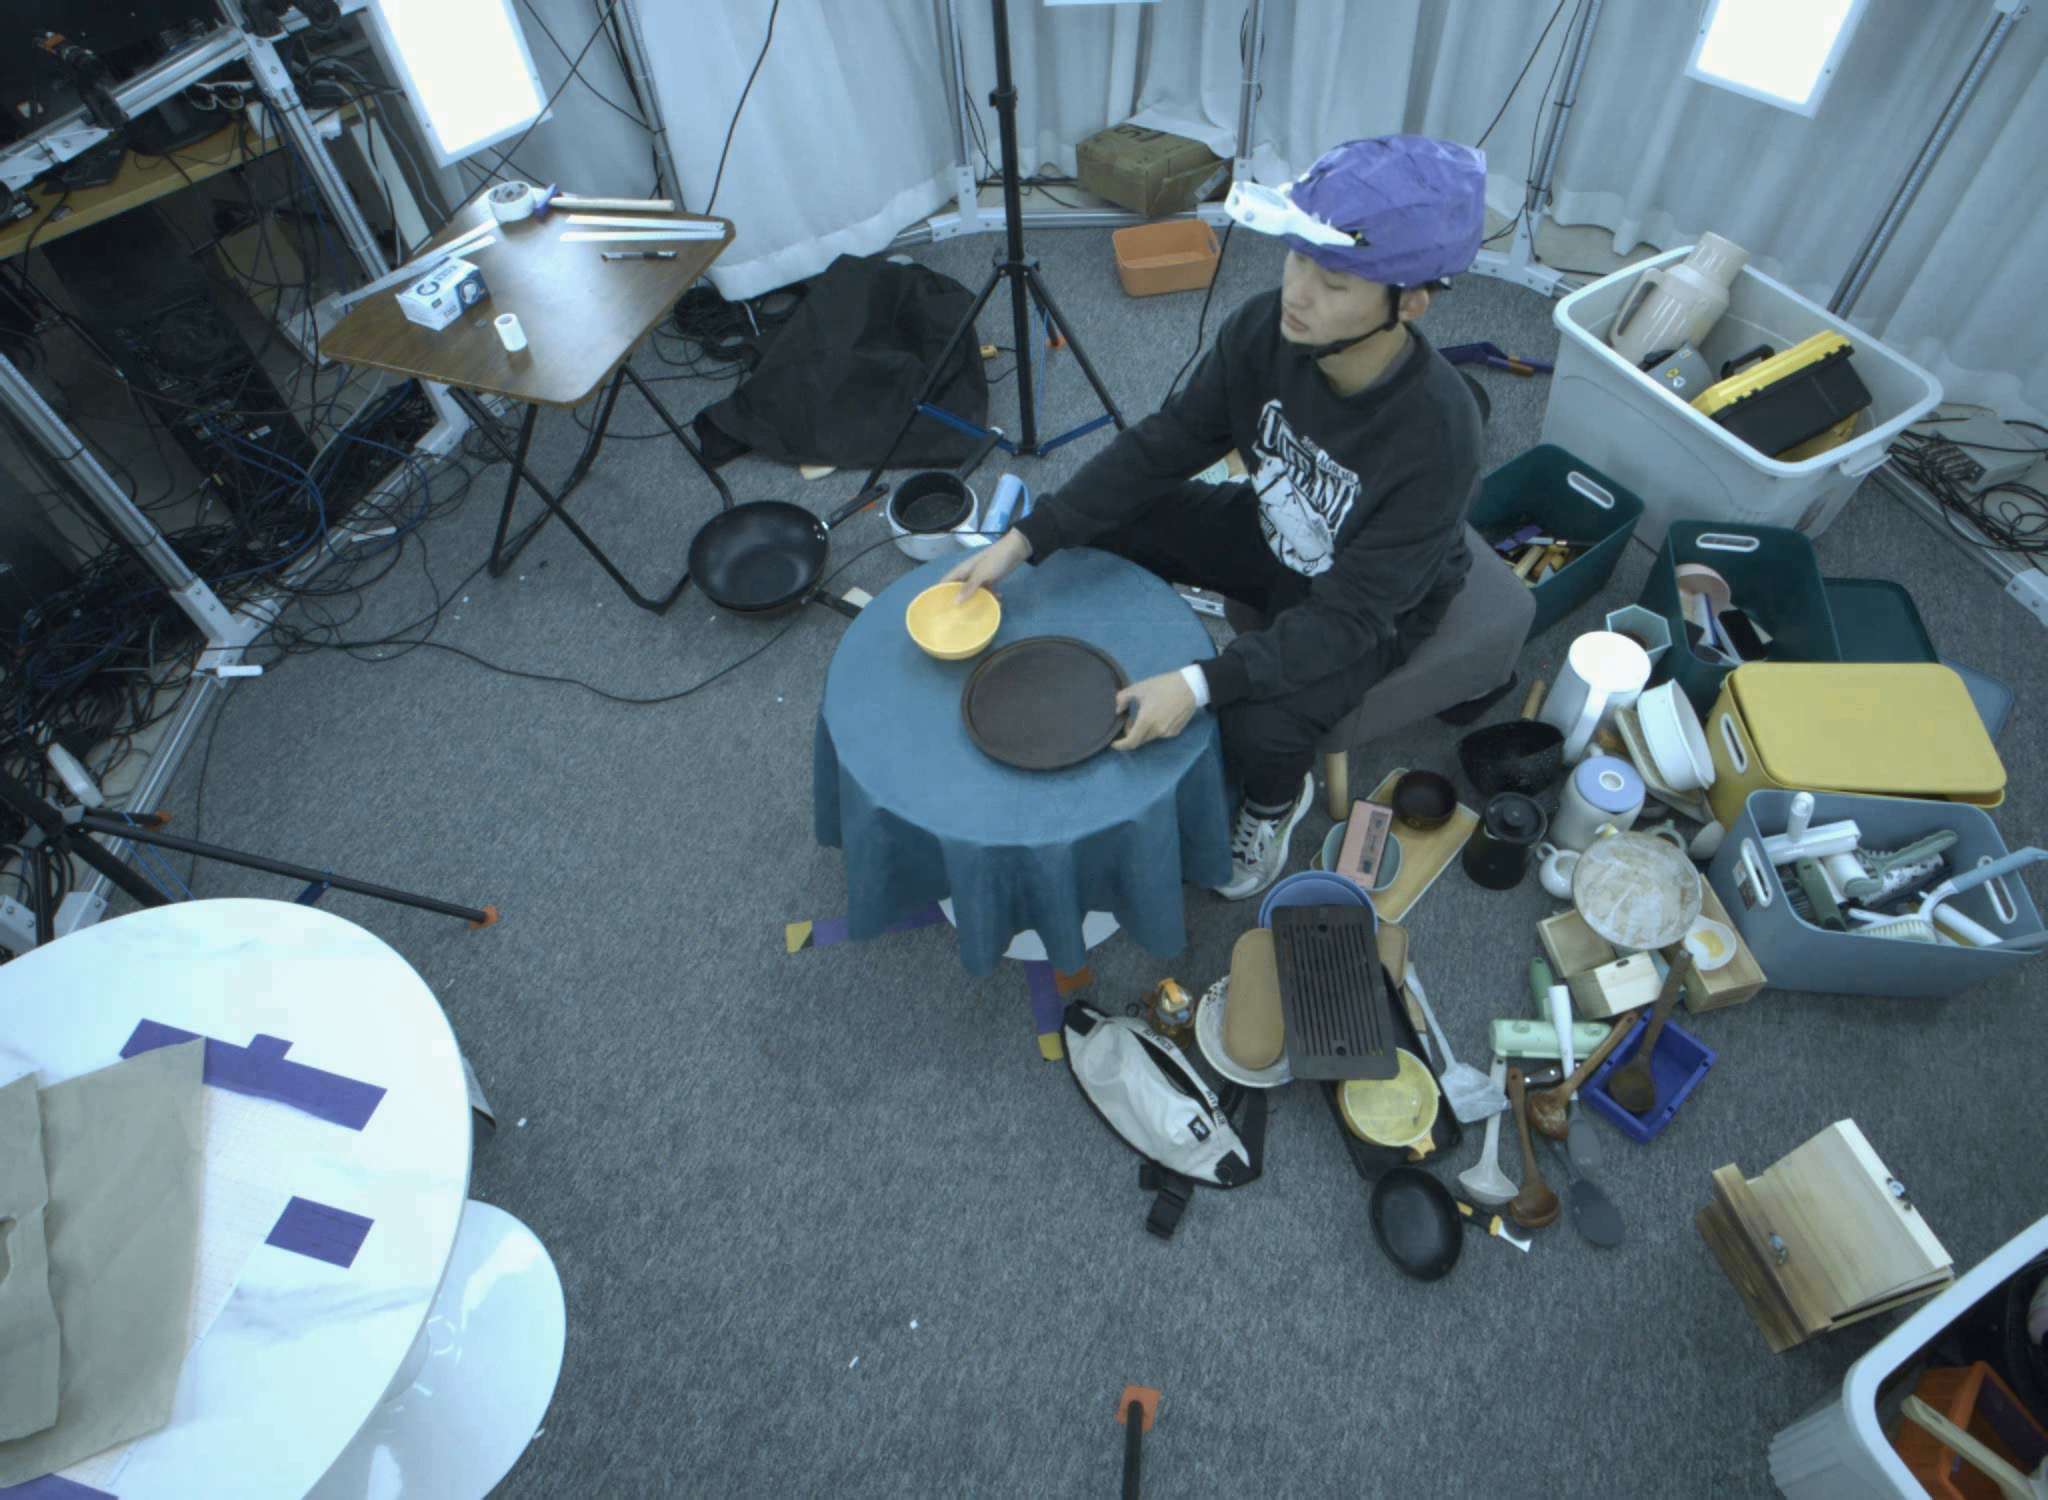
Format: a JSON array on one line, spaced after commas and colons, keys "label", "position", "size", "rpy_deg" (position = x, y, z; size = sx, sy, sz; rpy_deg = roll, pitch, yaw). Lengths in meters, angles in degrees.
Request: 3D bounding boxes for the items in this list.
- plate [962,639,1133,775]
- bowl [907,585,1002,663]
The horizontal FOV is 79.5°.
[{"label": "plate", "position": [0.035, -0.065, 1.826], "size": [0.254, 0.029, 0.252], "rpy_deg": [-1, 53, 3]}, {"label": "bowl", "position": [-0.107, -0.183, 1.896], "size": [0.145, 0.060, 0.144], "rpy_deg": [1, 55, 0]}]
